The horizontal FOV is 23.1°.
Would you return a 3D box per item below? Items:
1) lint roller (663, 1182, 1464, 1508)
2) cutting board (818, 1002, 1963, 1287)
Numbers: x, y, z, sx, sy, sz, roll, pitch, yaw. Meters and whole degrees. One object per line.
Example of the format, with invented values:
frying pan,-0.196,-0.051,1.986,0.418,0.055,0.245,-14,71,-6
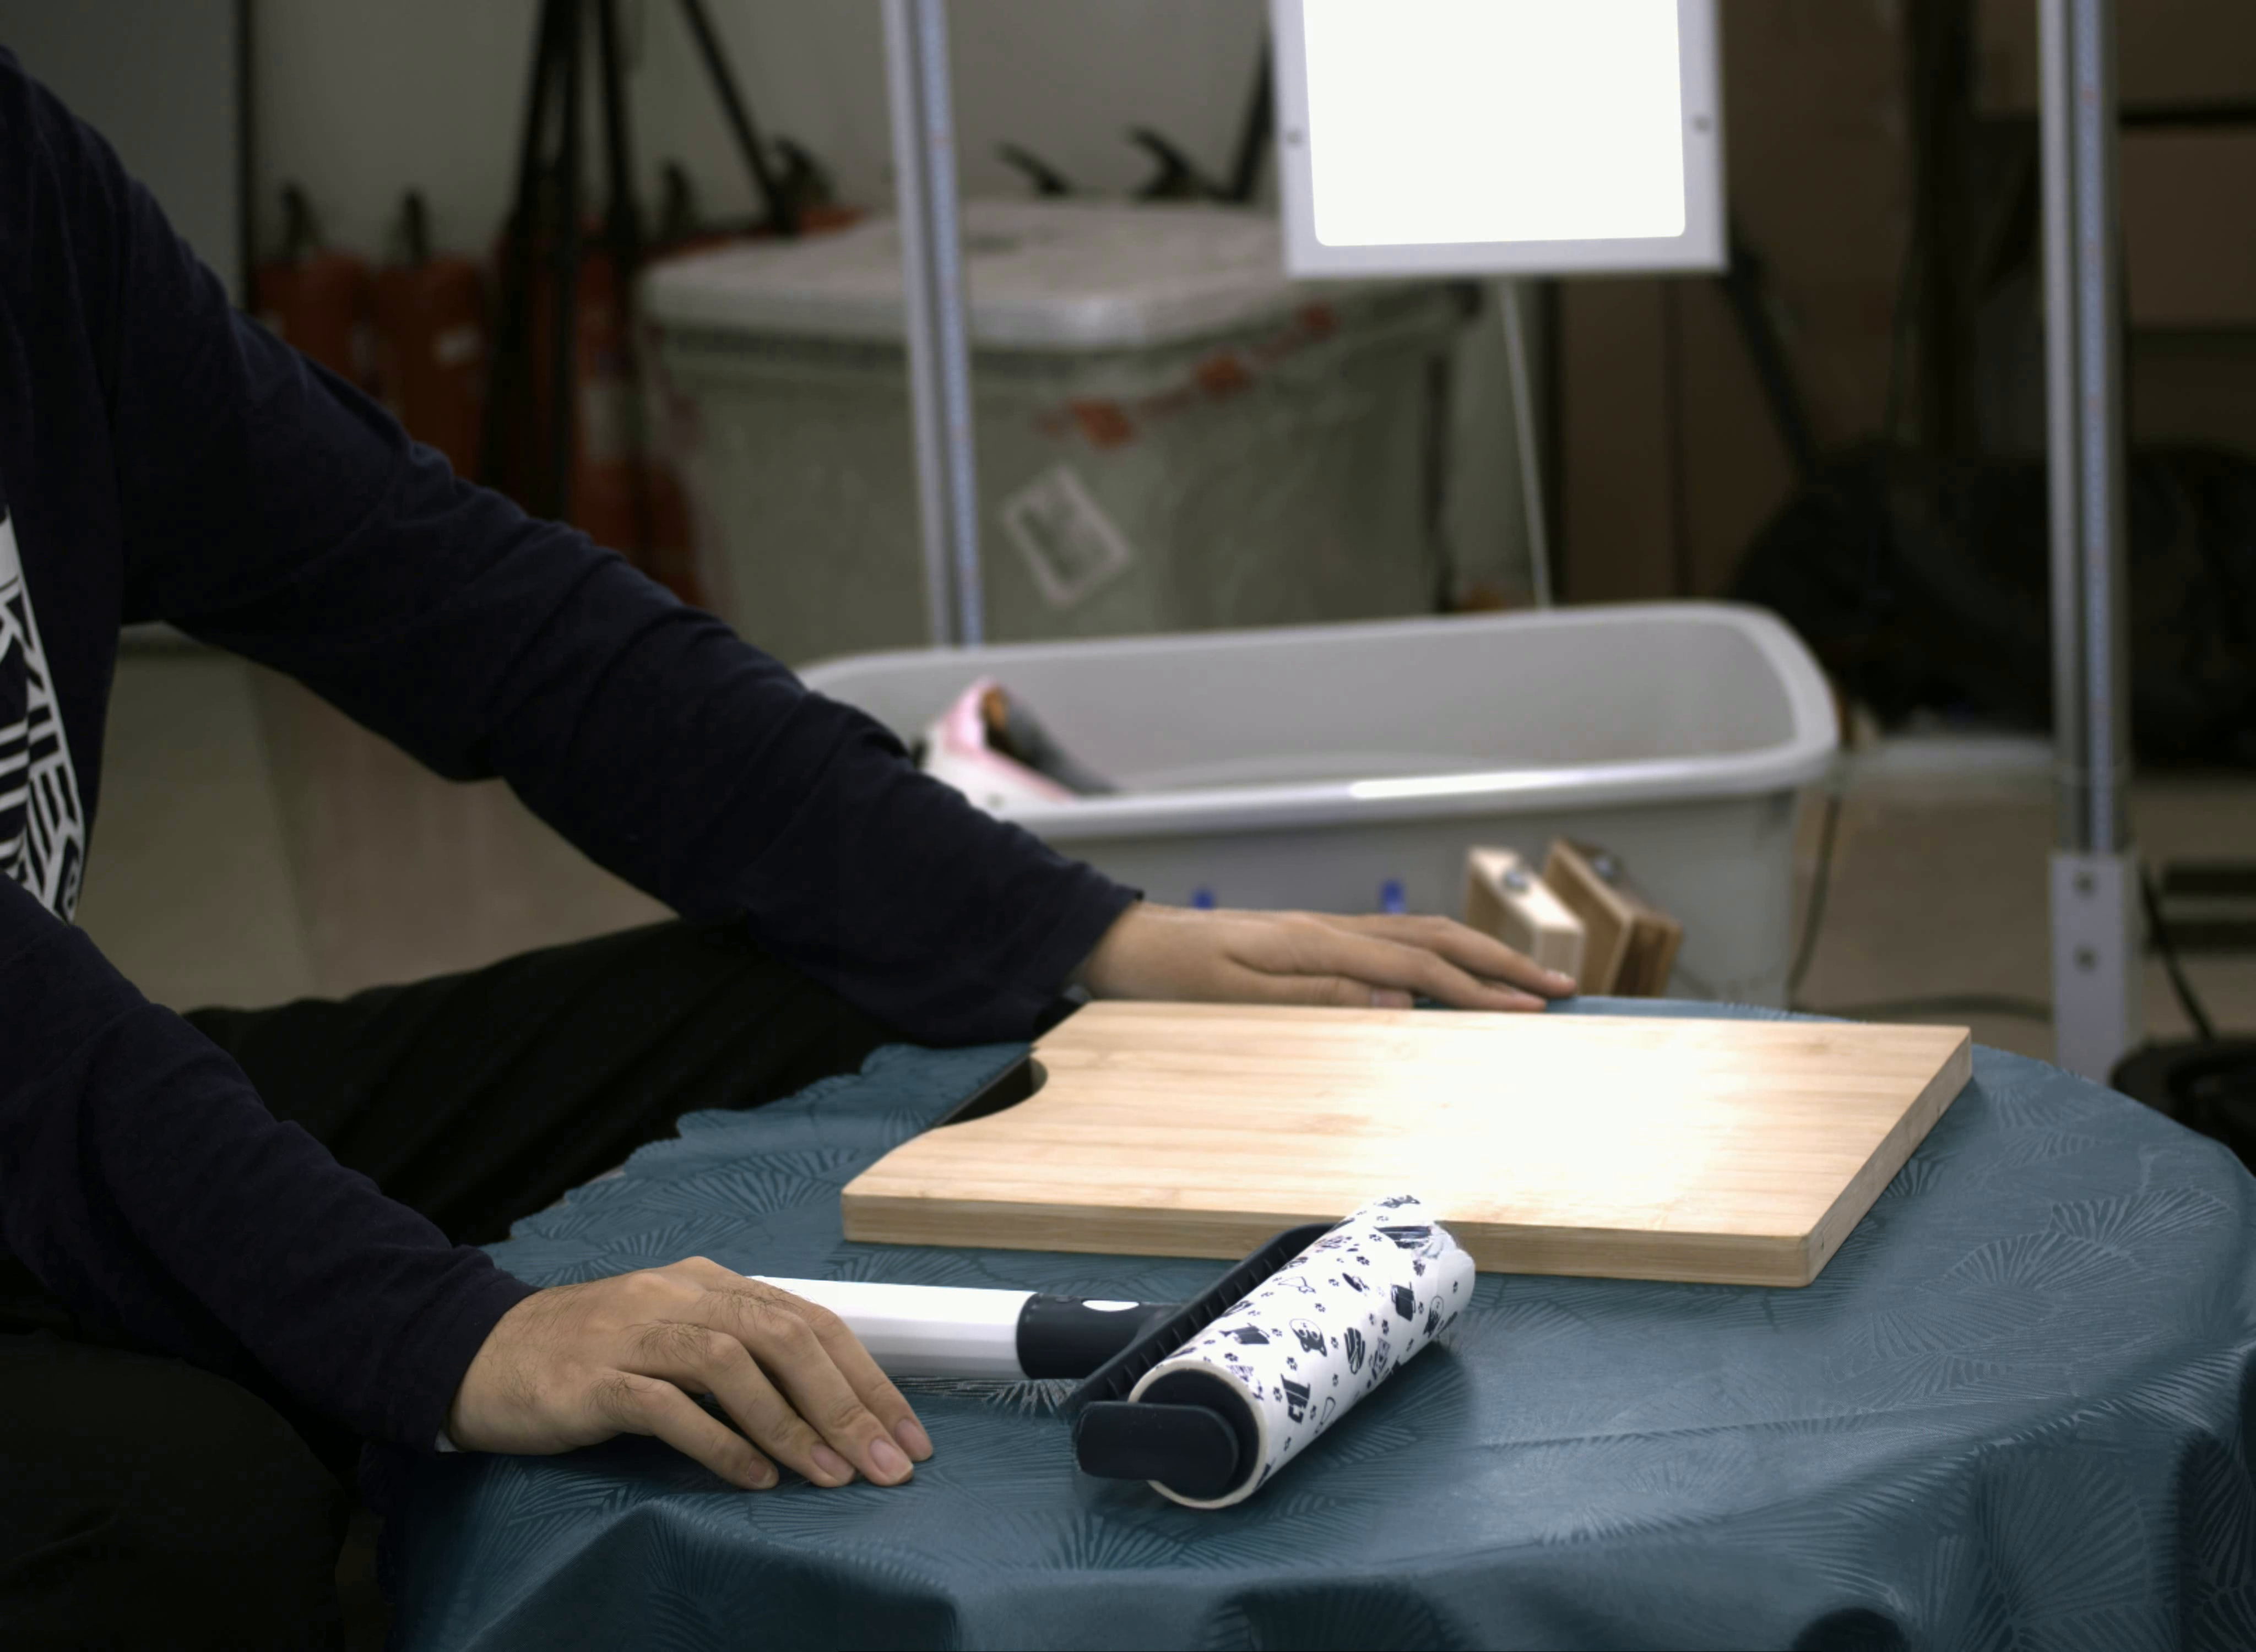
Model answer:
lint roller,-0.038,0.157,1.707,0.251,0.050,0.172,-1,15,28
cutting board,0.096,0.107,1.914,0.354,0.023,0.246,1,14,23
